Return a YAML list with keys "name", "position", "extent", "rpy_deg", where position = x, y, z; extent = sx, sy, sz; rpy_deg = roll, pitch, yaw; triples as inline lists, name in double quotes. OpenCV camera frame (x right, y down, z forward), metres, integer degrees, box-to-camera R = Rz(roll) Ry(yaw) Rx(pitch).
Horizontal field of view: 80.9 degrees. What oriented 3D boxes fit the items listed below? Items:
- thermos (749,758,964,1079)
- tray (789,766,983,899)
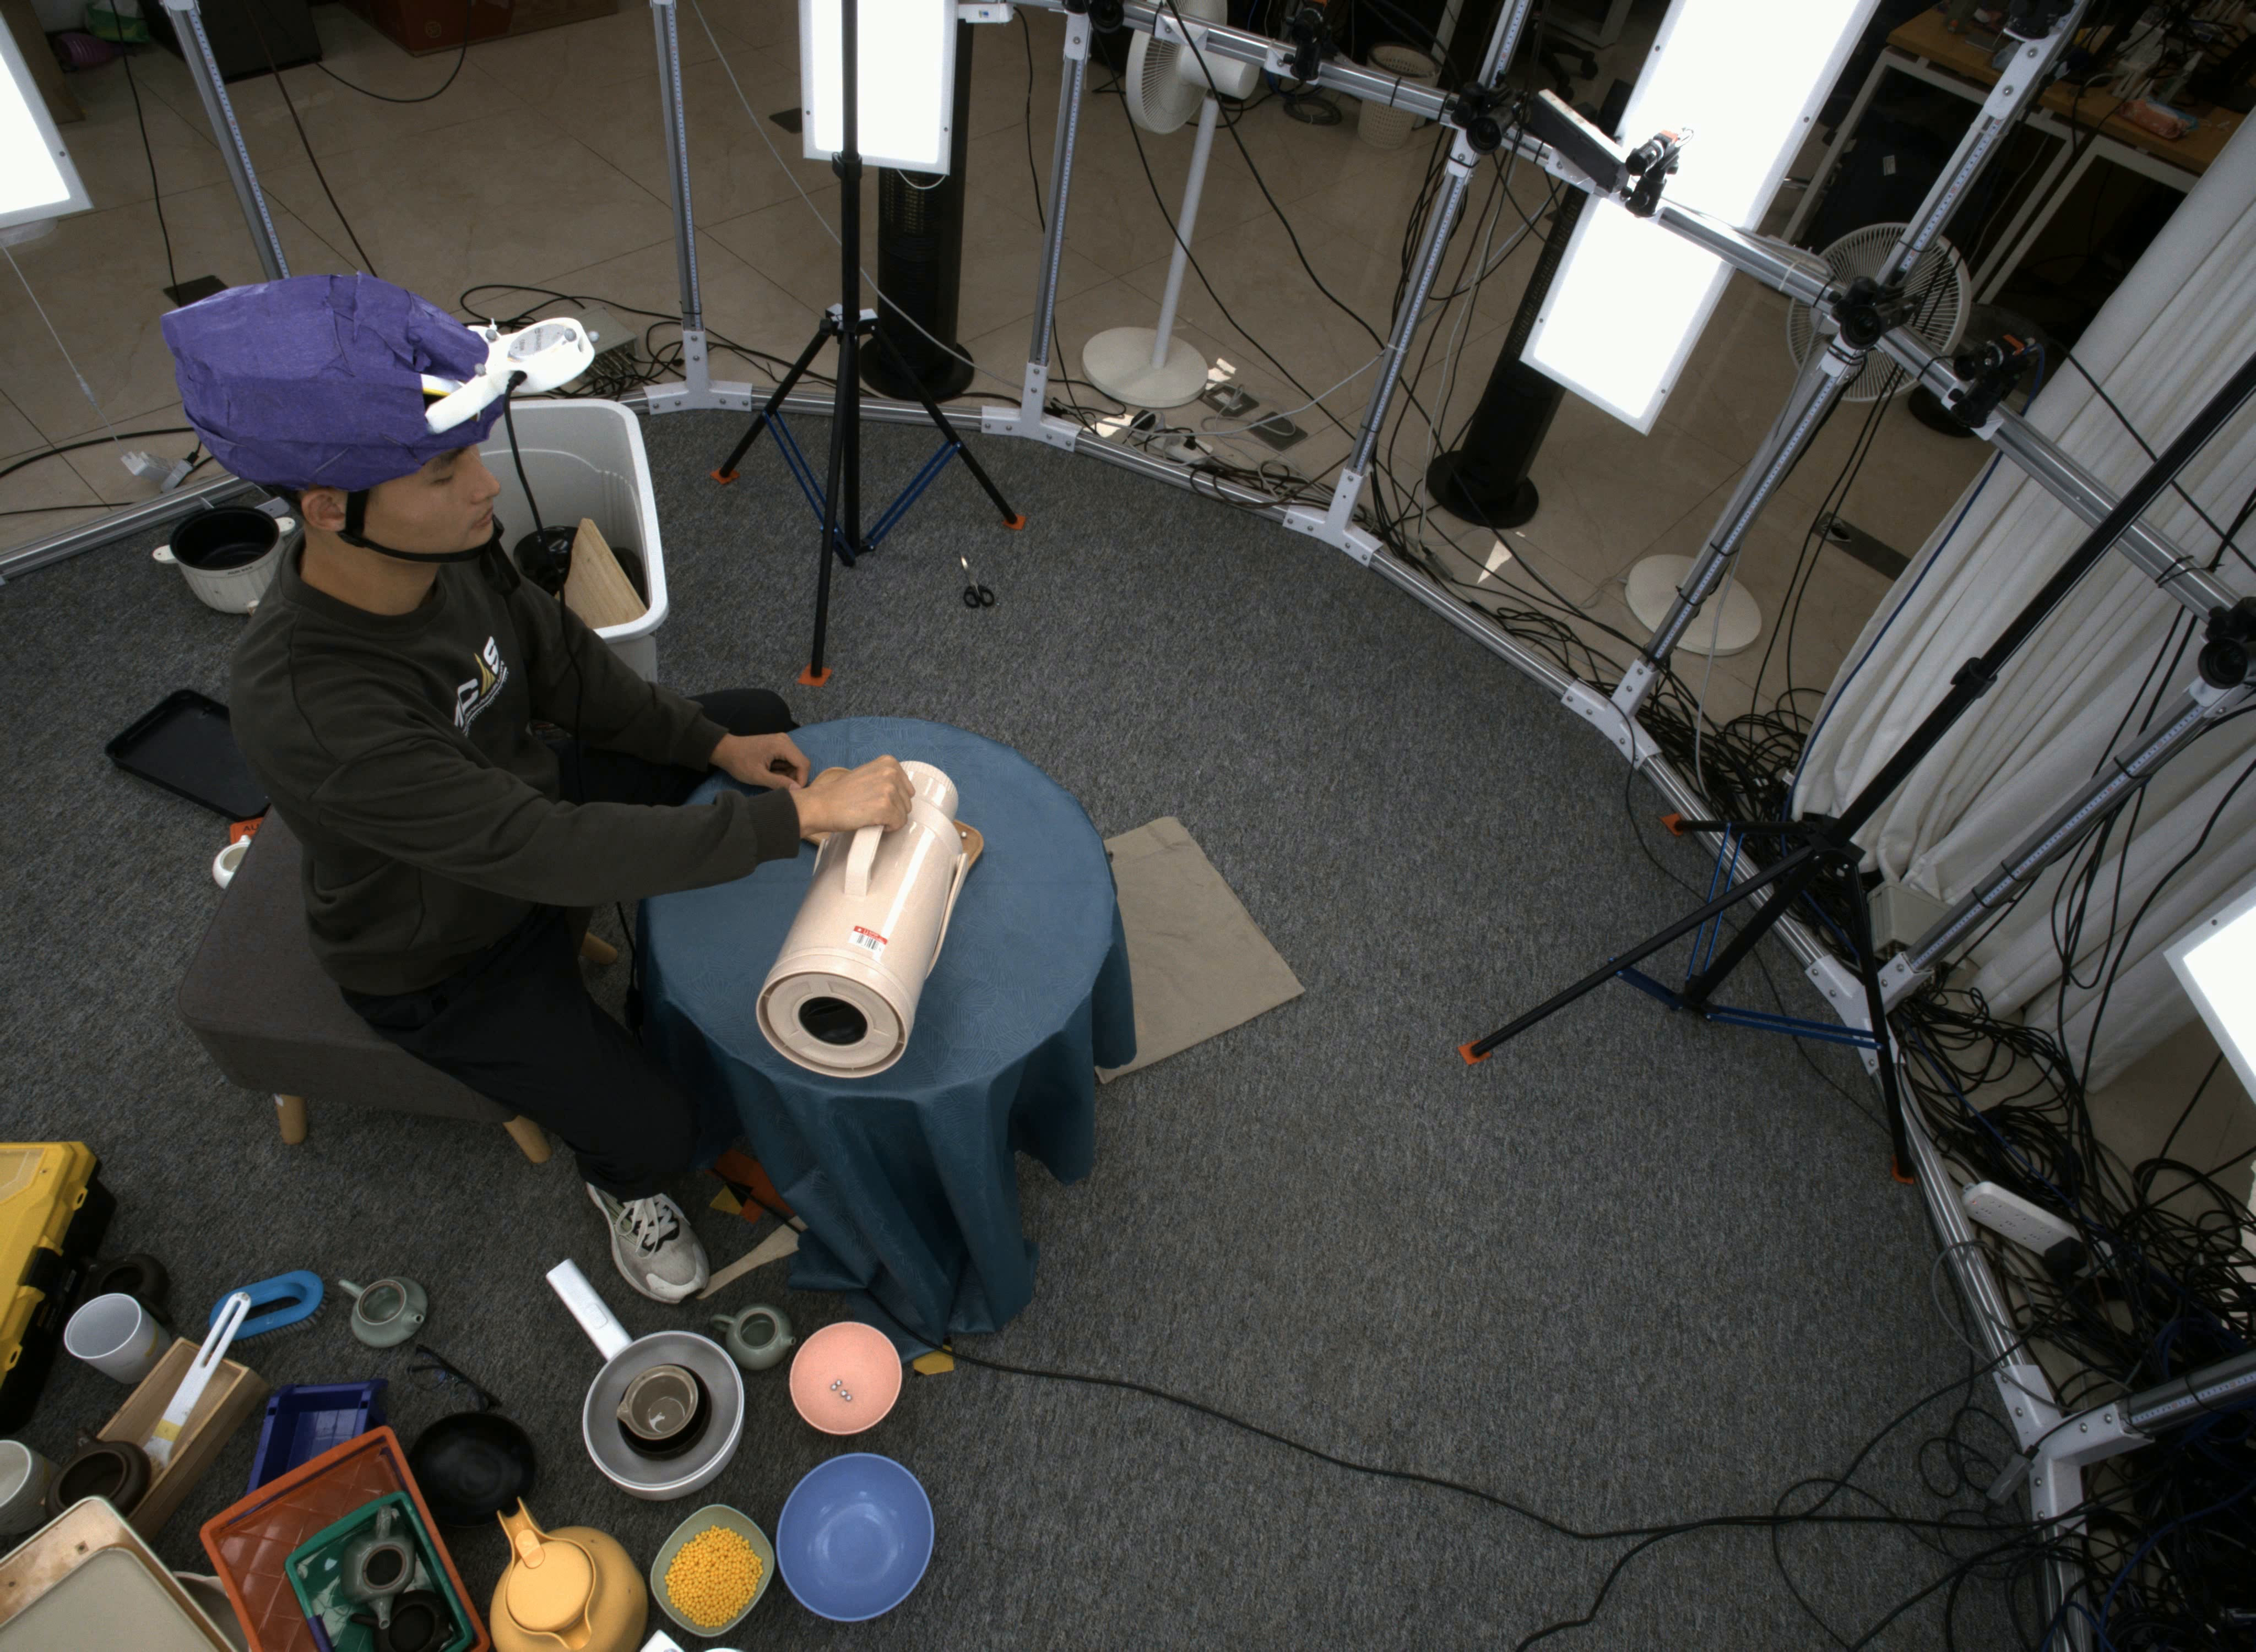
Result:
- name: "thermos"
  position: [-0.291, 0.070, 1.470]
  extent: [0.173, 0.213, 0.399]
  rpy_deg: [8, 40, 3]
- name: "tray"
  position: [-0.323, 0.008, 1.743]
  extent: [0.247, 0.023, 0.130]
  rpy_deg: [25, 50, 7]
